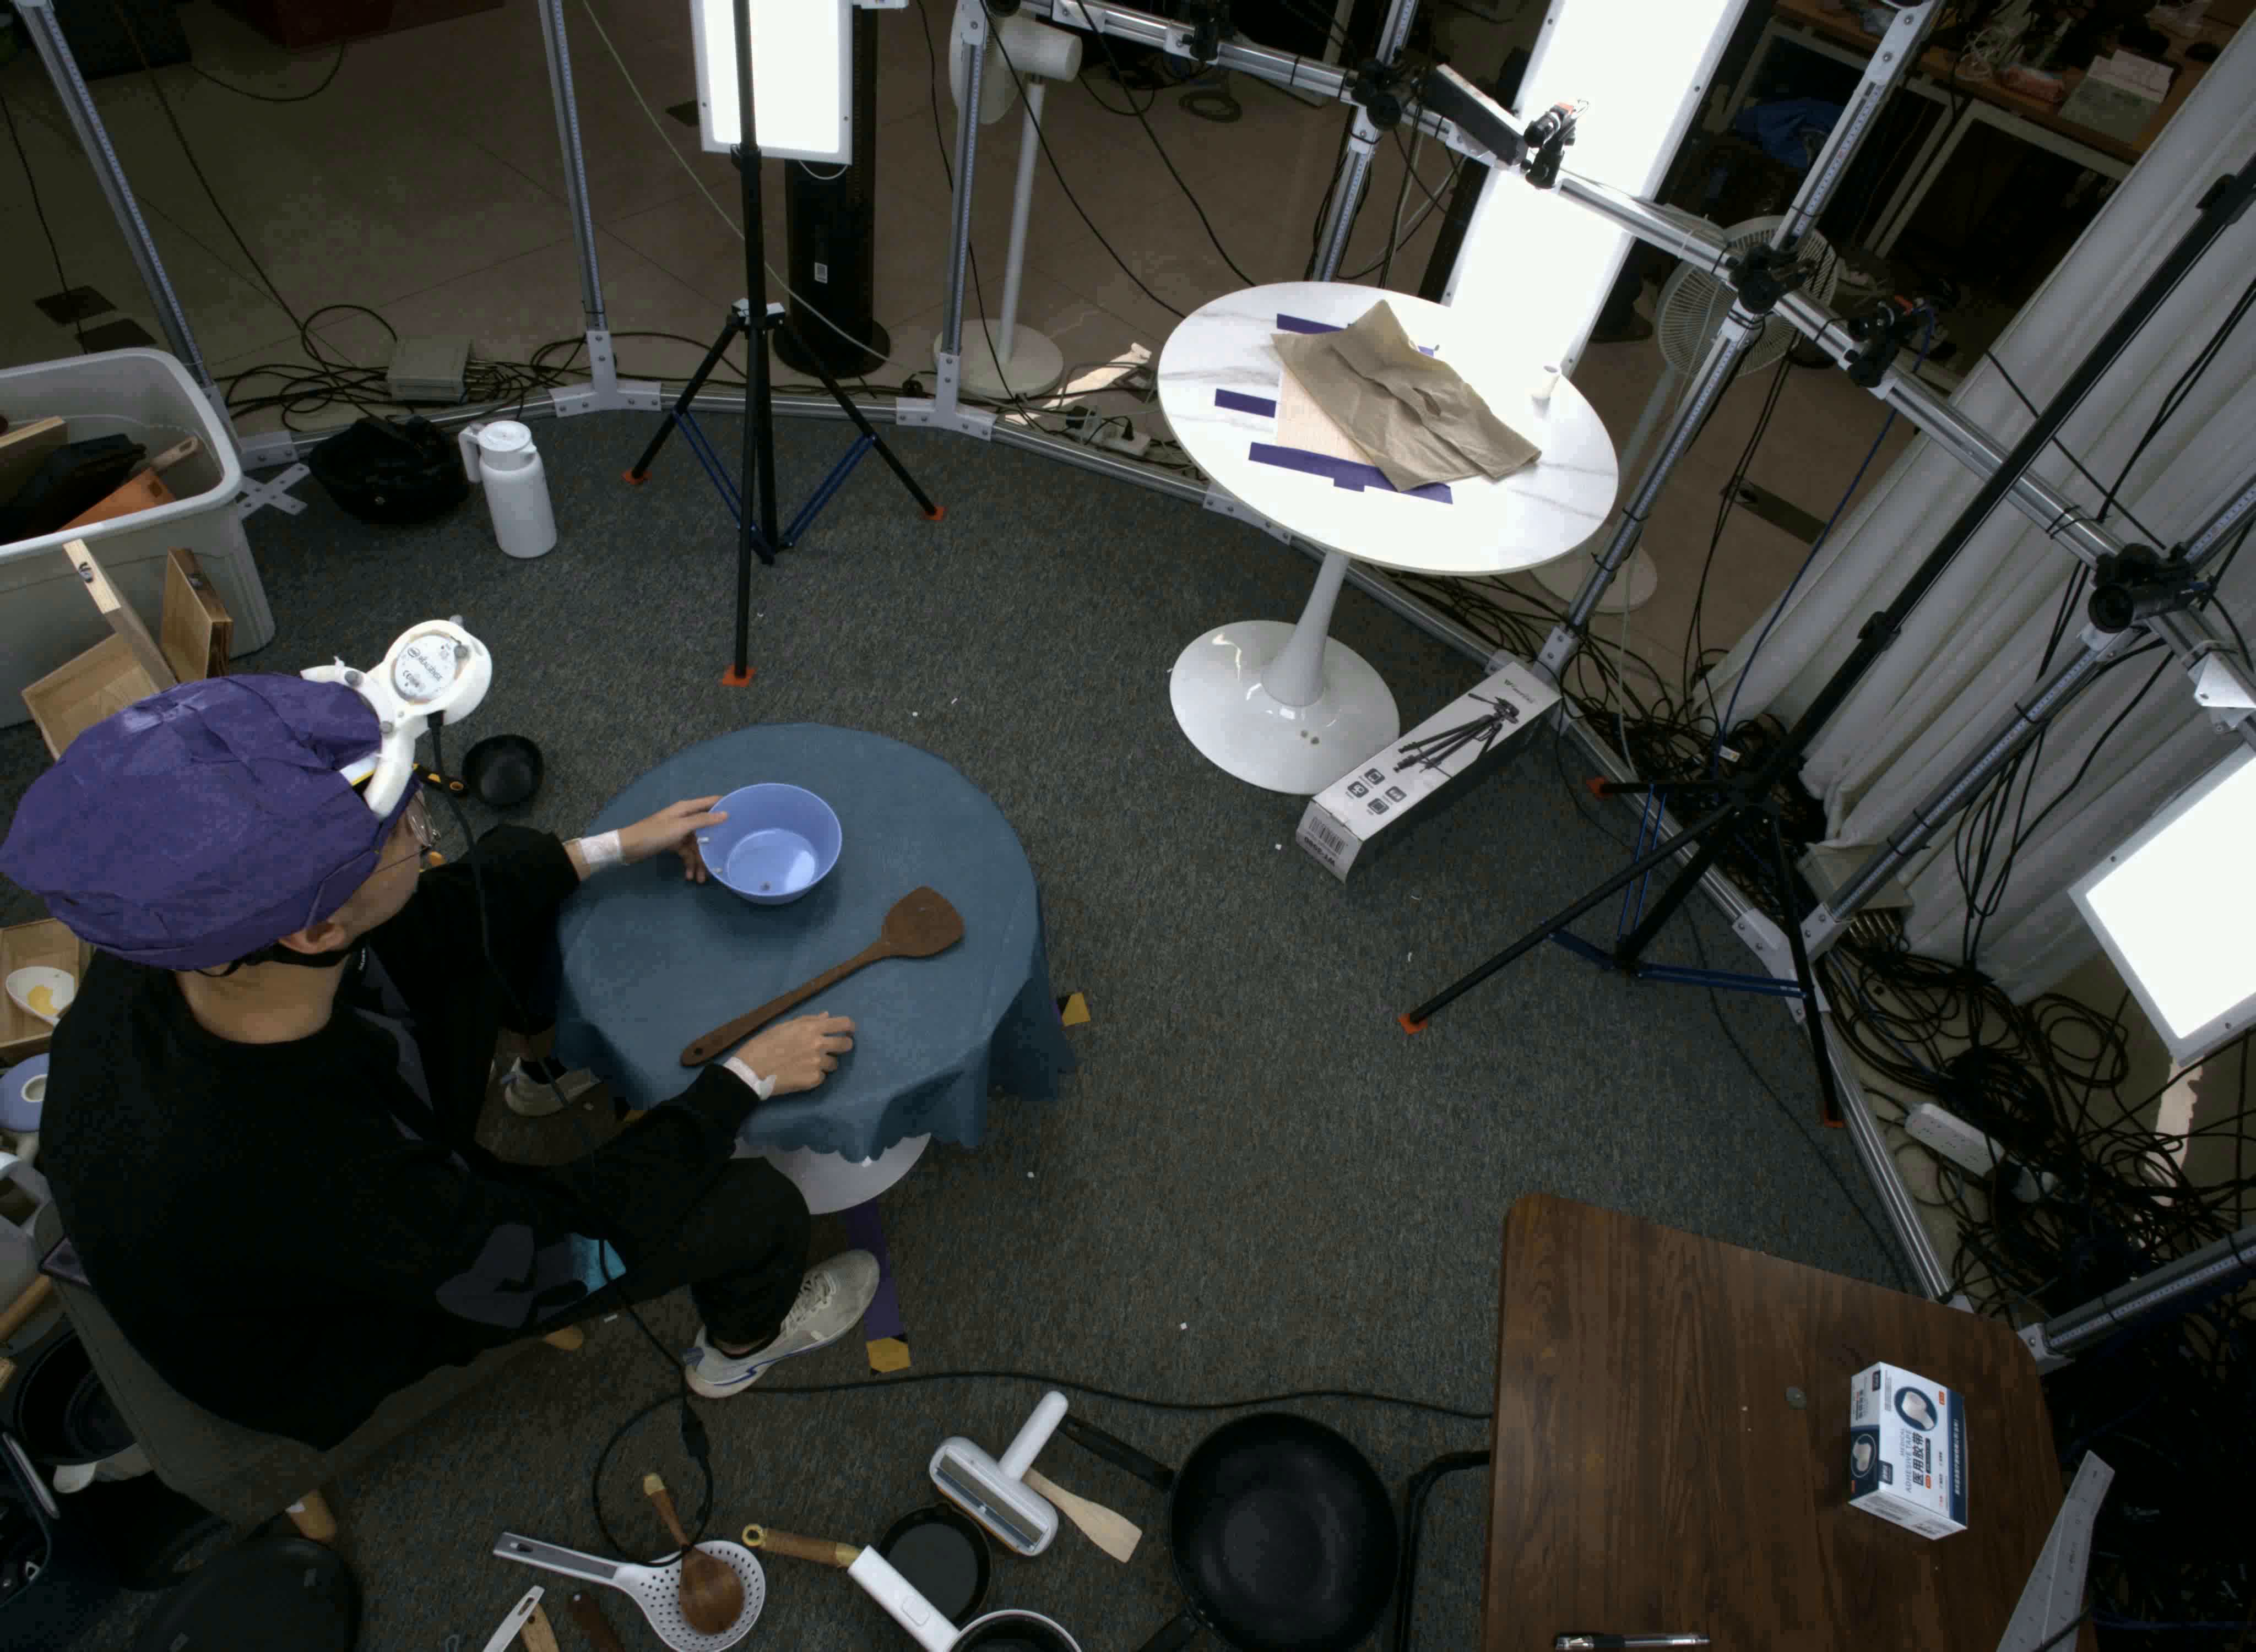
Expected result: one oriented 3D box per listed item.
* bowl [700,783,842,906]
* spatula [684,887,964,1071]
[{"bbox_3d":[-0.453,0.033,1.653,0.175,0.072,0.173,7,53,-8],"label":"bowl"},{"bbox_3d":[-0.372,0.189,1.593,0.387,0.016,0.094,-31,66,-31],"label":"spatula"}]
